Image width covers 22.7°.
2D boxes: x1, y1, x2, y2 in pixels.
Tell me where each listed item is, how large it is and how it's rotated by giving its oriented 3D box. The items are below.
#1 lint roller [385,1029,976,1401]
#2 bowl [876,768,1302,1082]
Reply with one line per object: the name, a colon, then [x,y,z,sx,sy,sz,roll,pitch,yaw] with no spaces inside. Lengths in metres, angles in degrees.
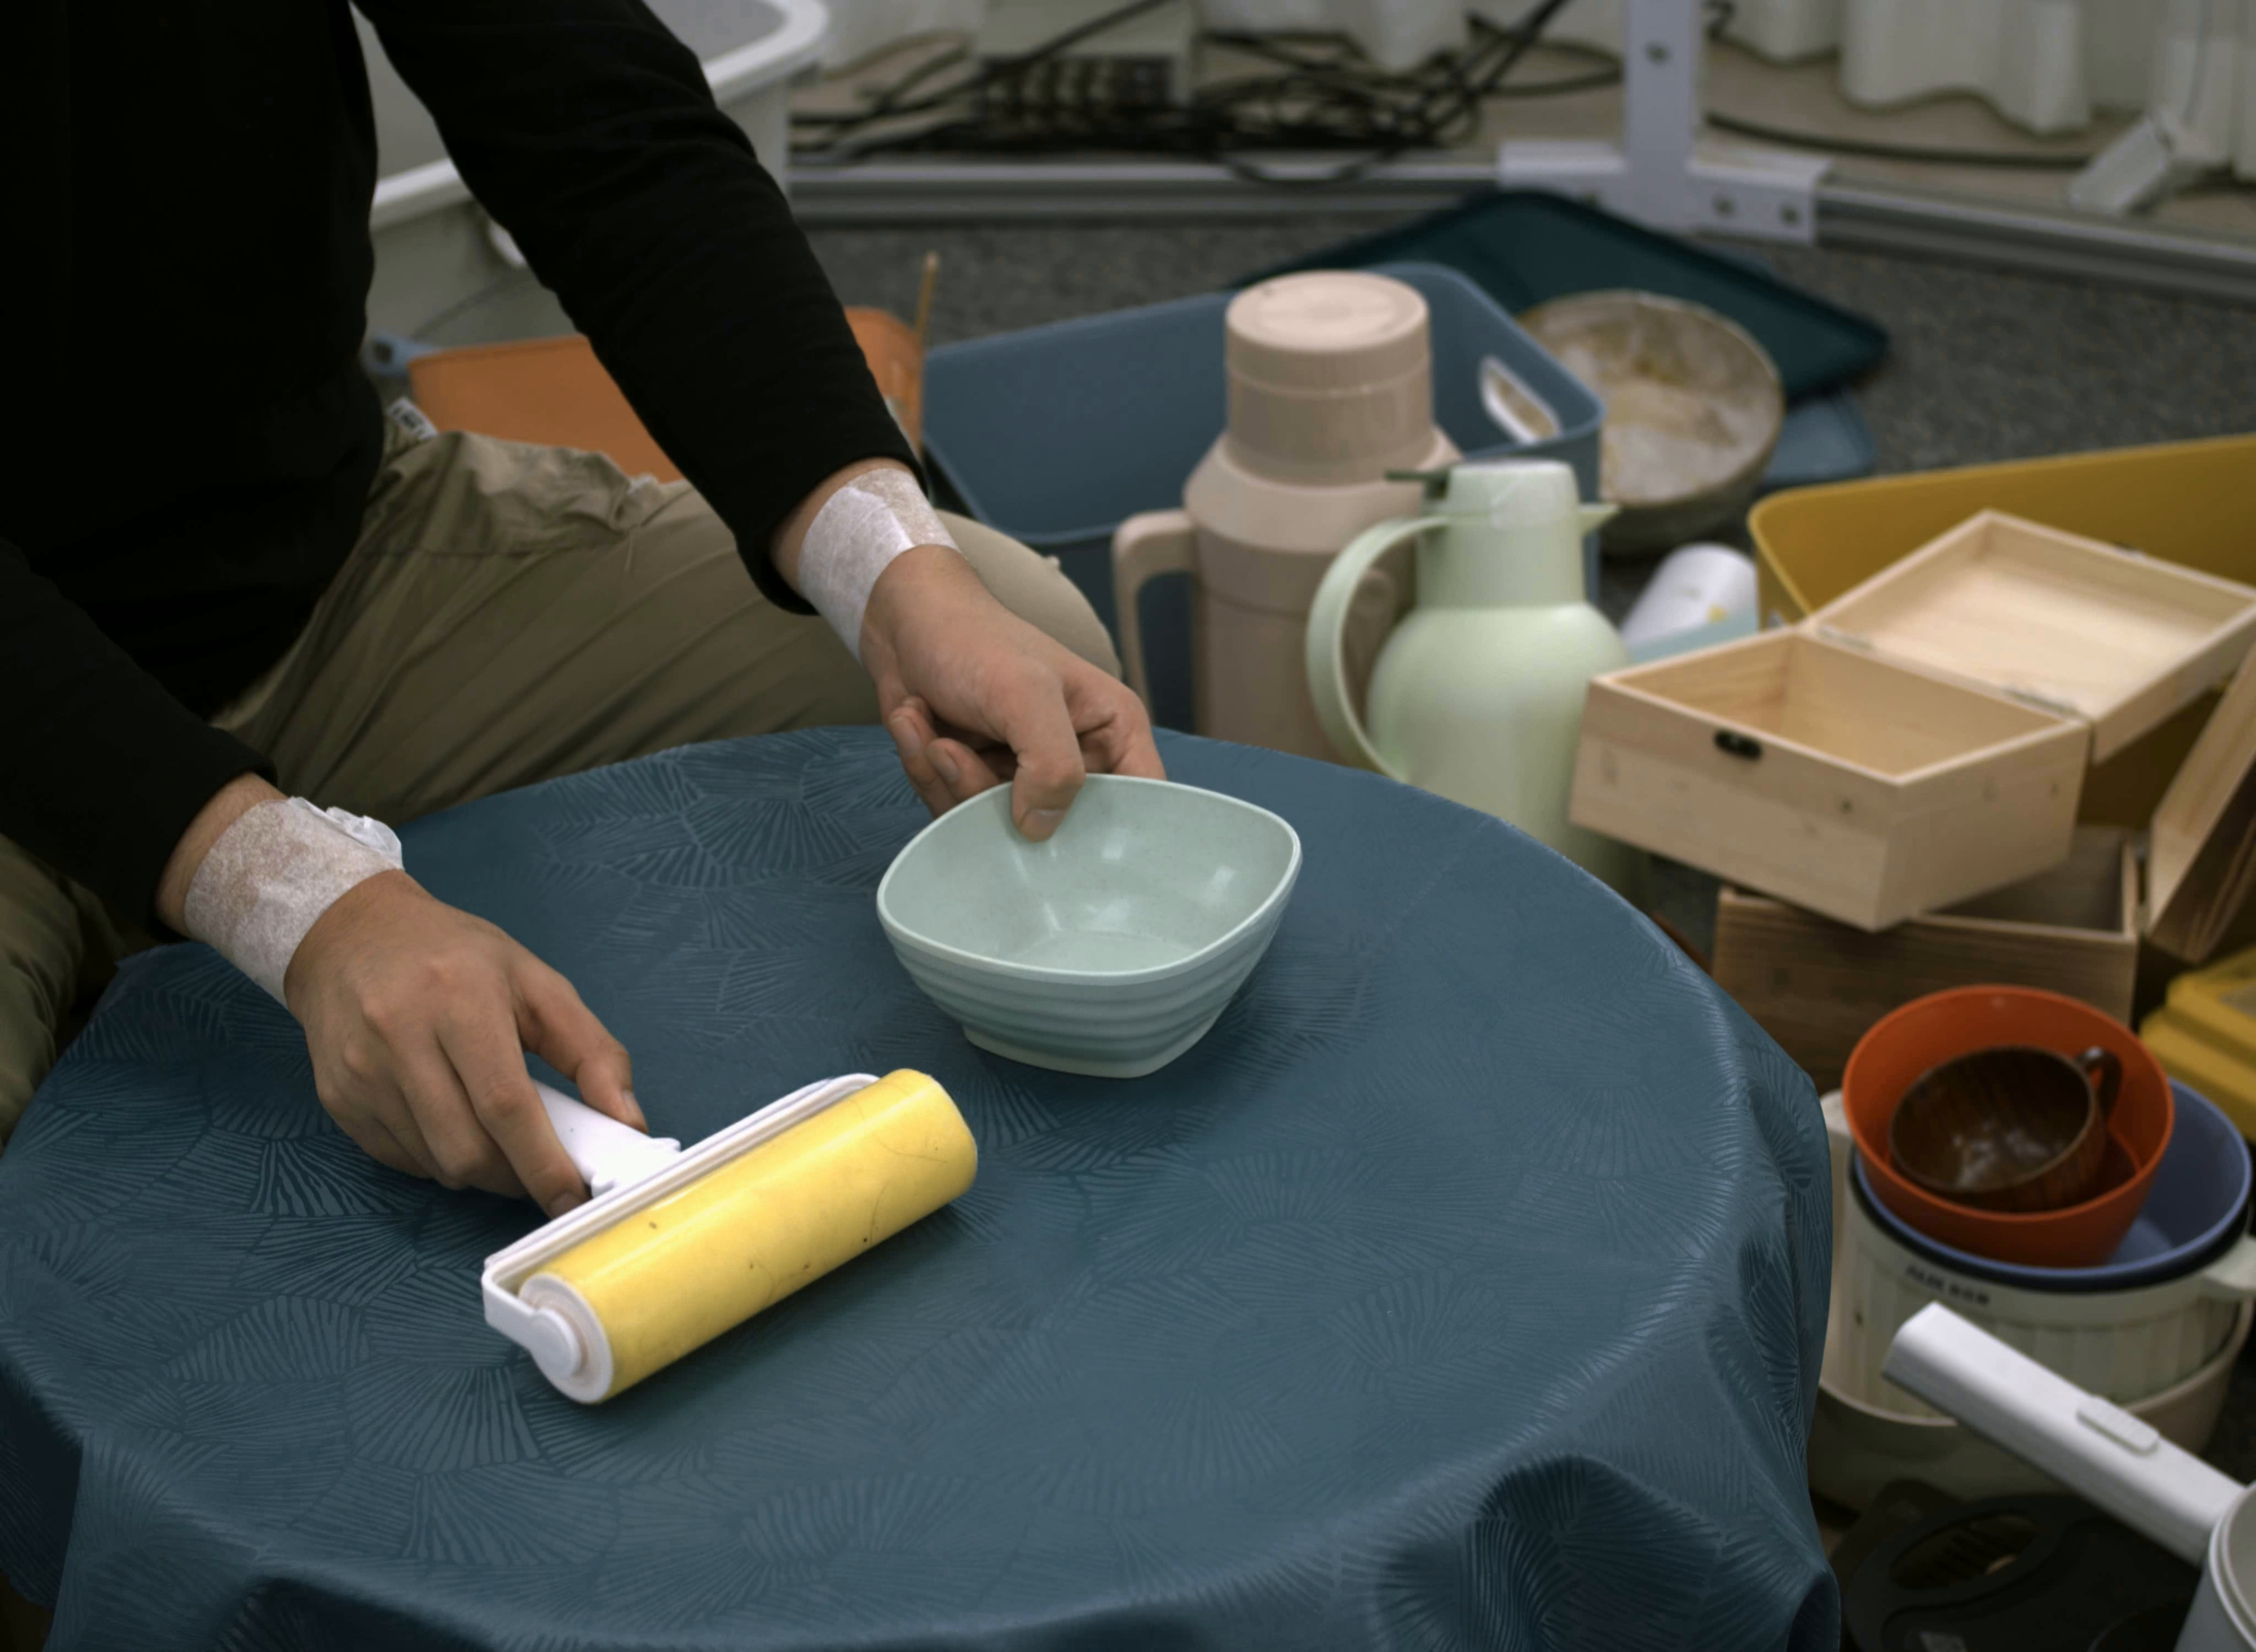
lint roller: [-0.174,0.101,1.839,0.192,0.050,0.176,31,40,30]
bowl: [-0.012,0.040,1.958,0.151,0.058,0.154,-1,29,1]
